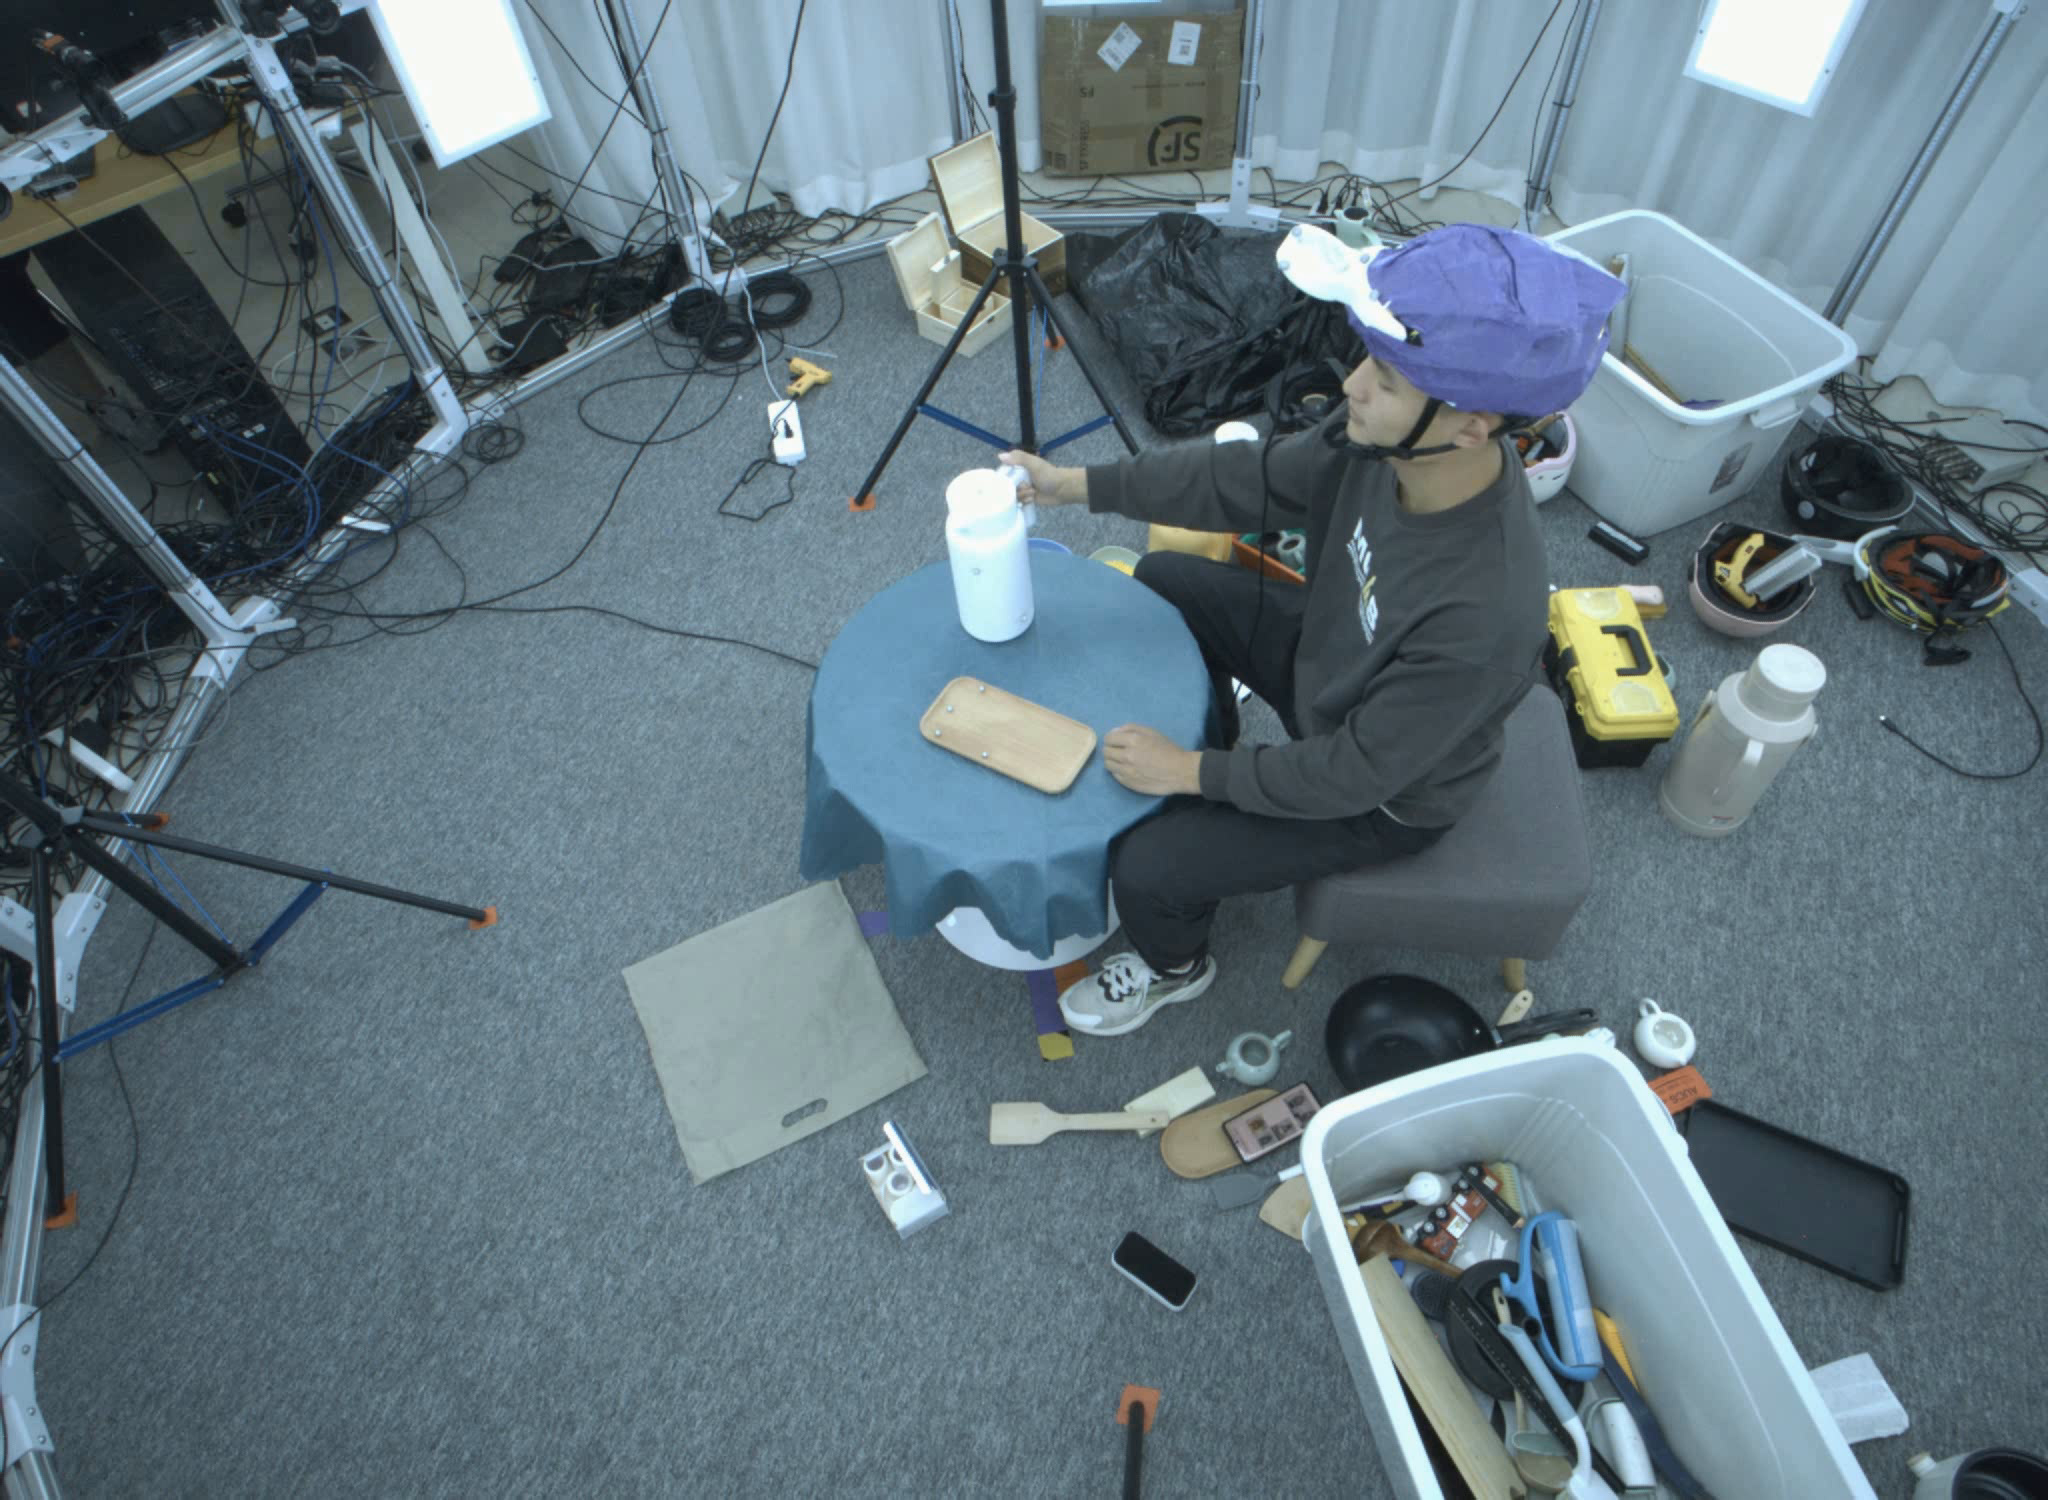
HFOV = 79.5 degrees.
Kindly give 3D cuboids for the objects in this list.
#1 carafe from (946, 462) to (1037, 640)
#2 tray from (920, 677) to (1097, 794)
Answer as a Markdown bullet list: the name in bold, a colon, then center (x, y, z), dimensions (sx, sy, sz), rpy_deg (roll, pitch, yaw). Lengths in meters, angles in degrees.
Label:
- **carafe**: center (-0.043, -0.301, 1.832), dimensions (0.122, 0.272, 0.173), rpy_deg (27, 62, 23)
- **tray**: center (-0.023, -0.023, 1.792), dimensions (0.247, 0.023, 0.131), rpy_deg (25, 61, 17)
